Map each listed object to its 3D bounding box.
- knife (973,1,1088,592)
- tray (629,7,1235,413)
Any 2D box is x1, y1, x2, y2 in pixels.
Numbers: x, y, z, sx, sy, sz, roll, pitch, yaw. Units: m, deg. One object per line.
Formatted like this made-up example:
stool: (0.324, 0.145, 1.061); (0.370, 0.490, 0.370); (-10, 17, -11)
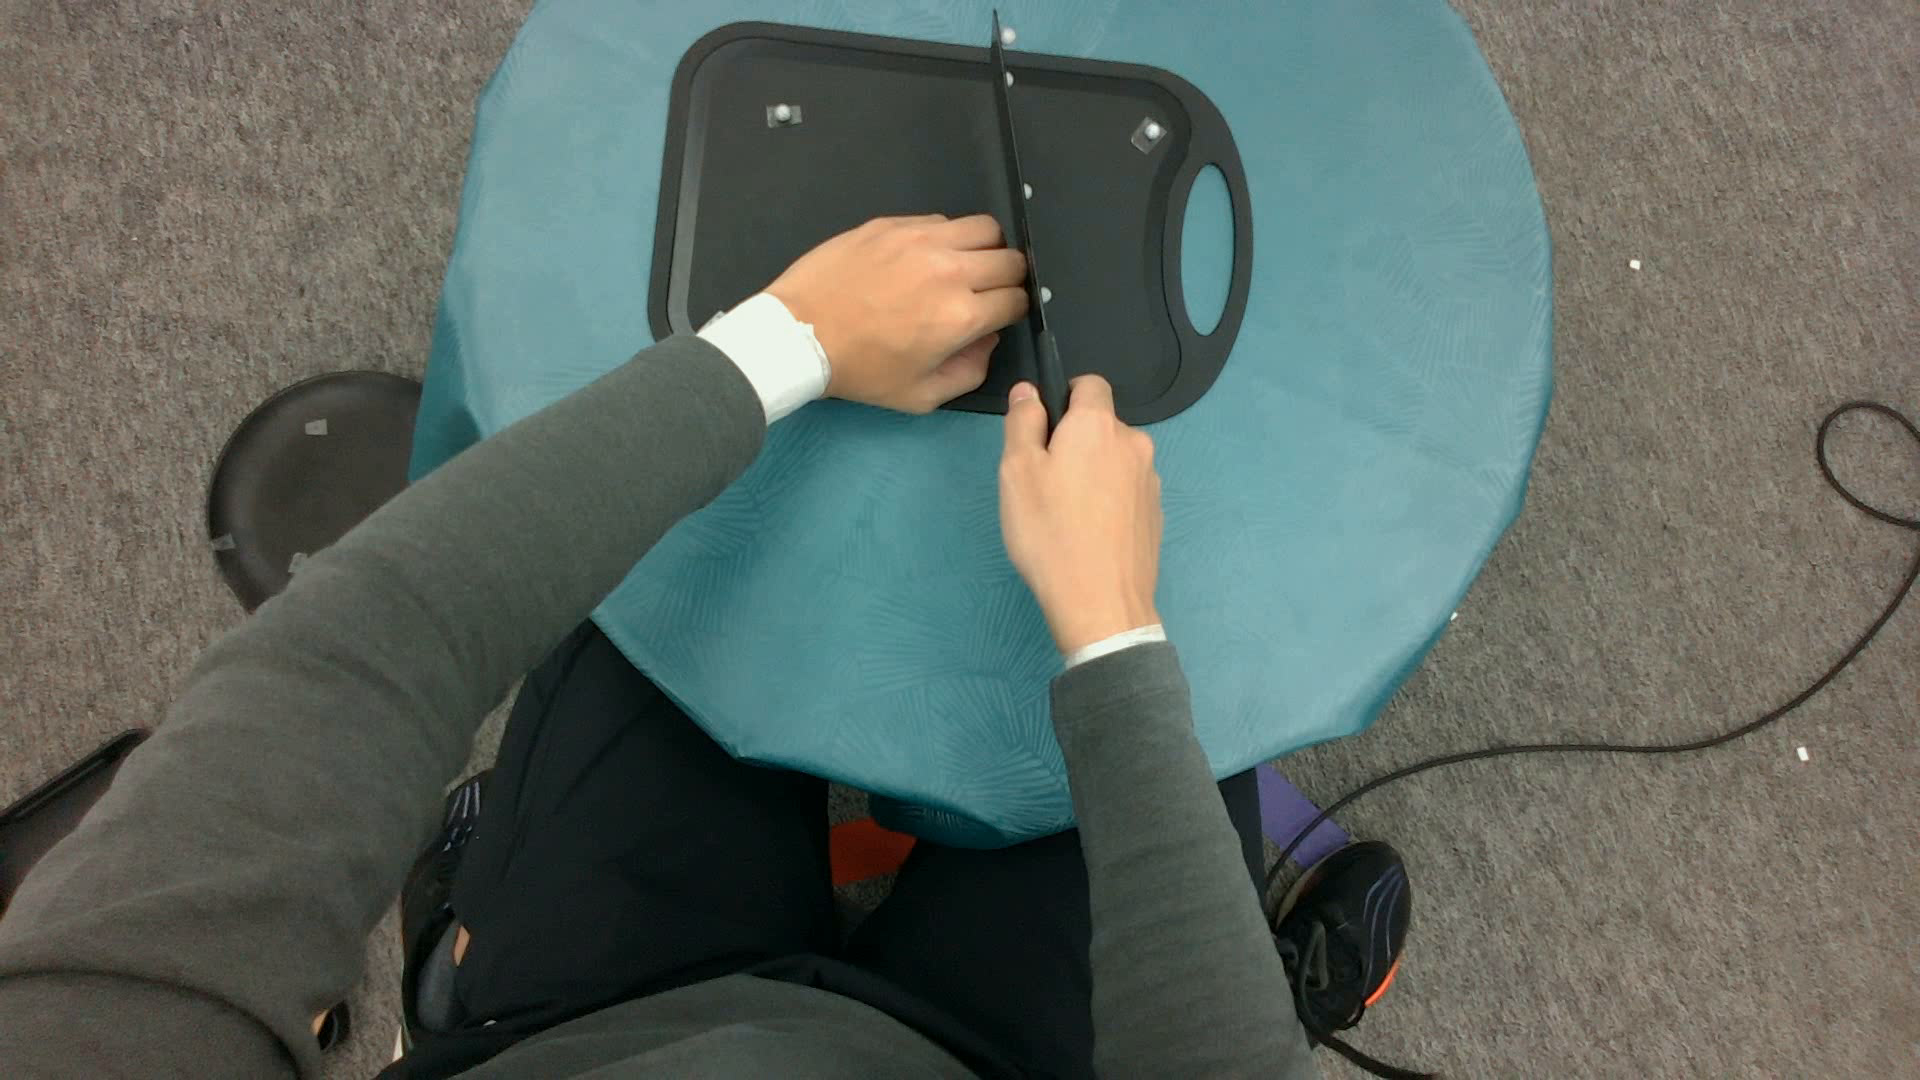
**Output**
knife: (0.030, -0.123, 0.693); (0.021, 0.081, 0.303); (-8, 76, -2)
tray: (-0.009, -0.181, 0.748); (0.325, 0.010, 0.211); (6, 79, -5)
